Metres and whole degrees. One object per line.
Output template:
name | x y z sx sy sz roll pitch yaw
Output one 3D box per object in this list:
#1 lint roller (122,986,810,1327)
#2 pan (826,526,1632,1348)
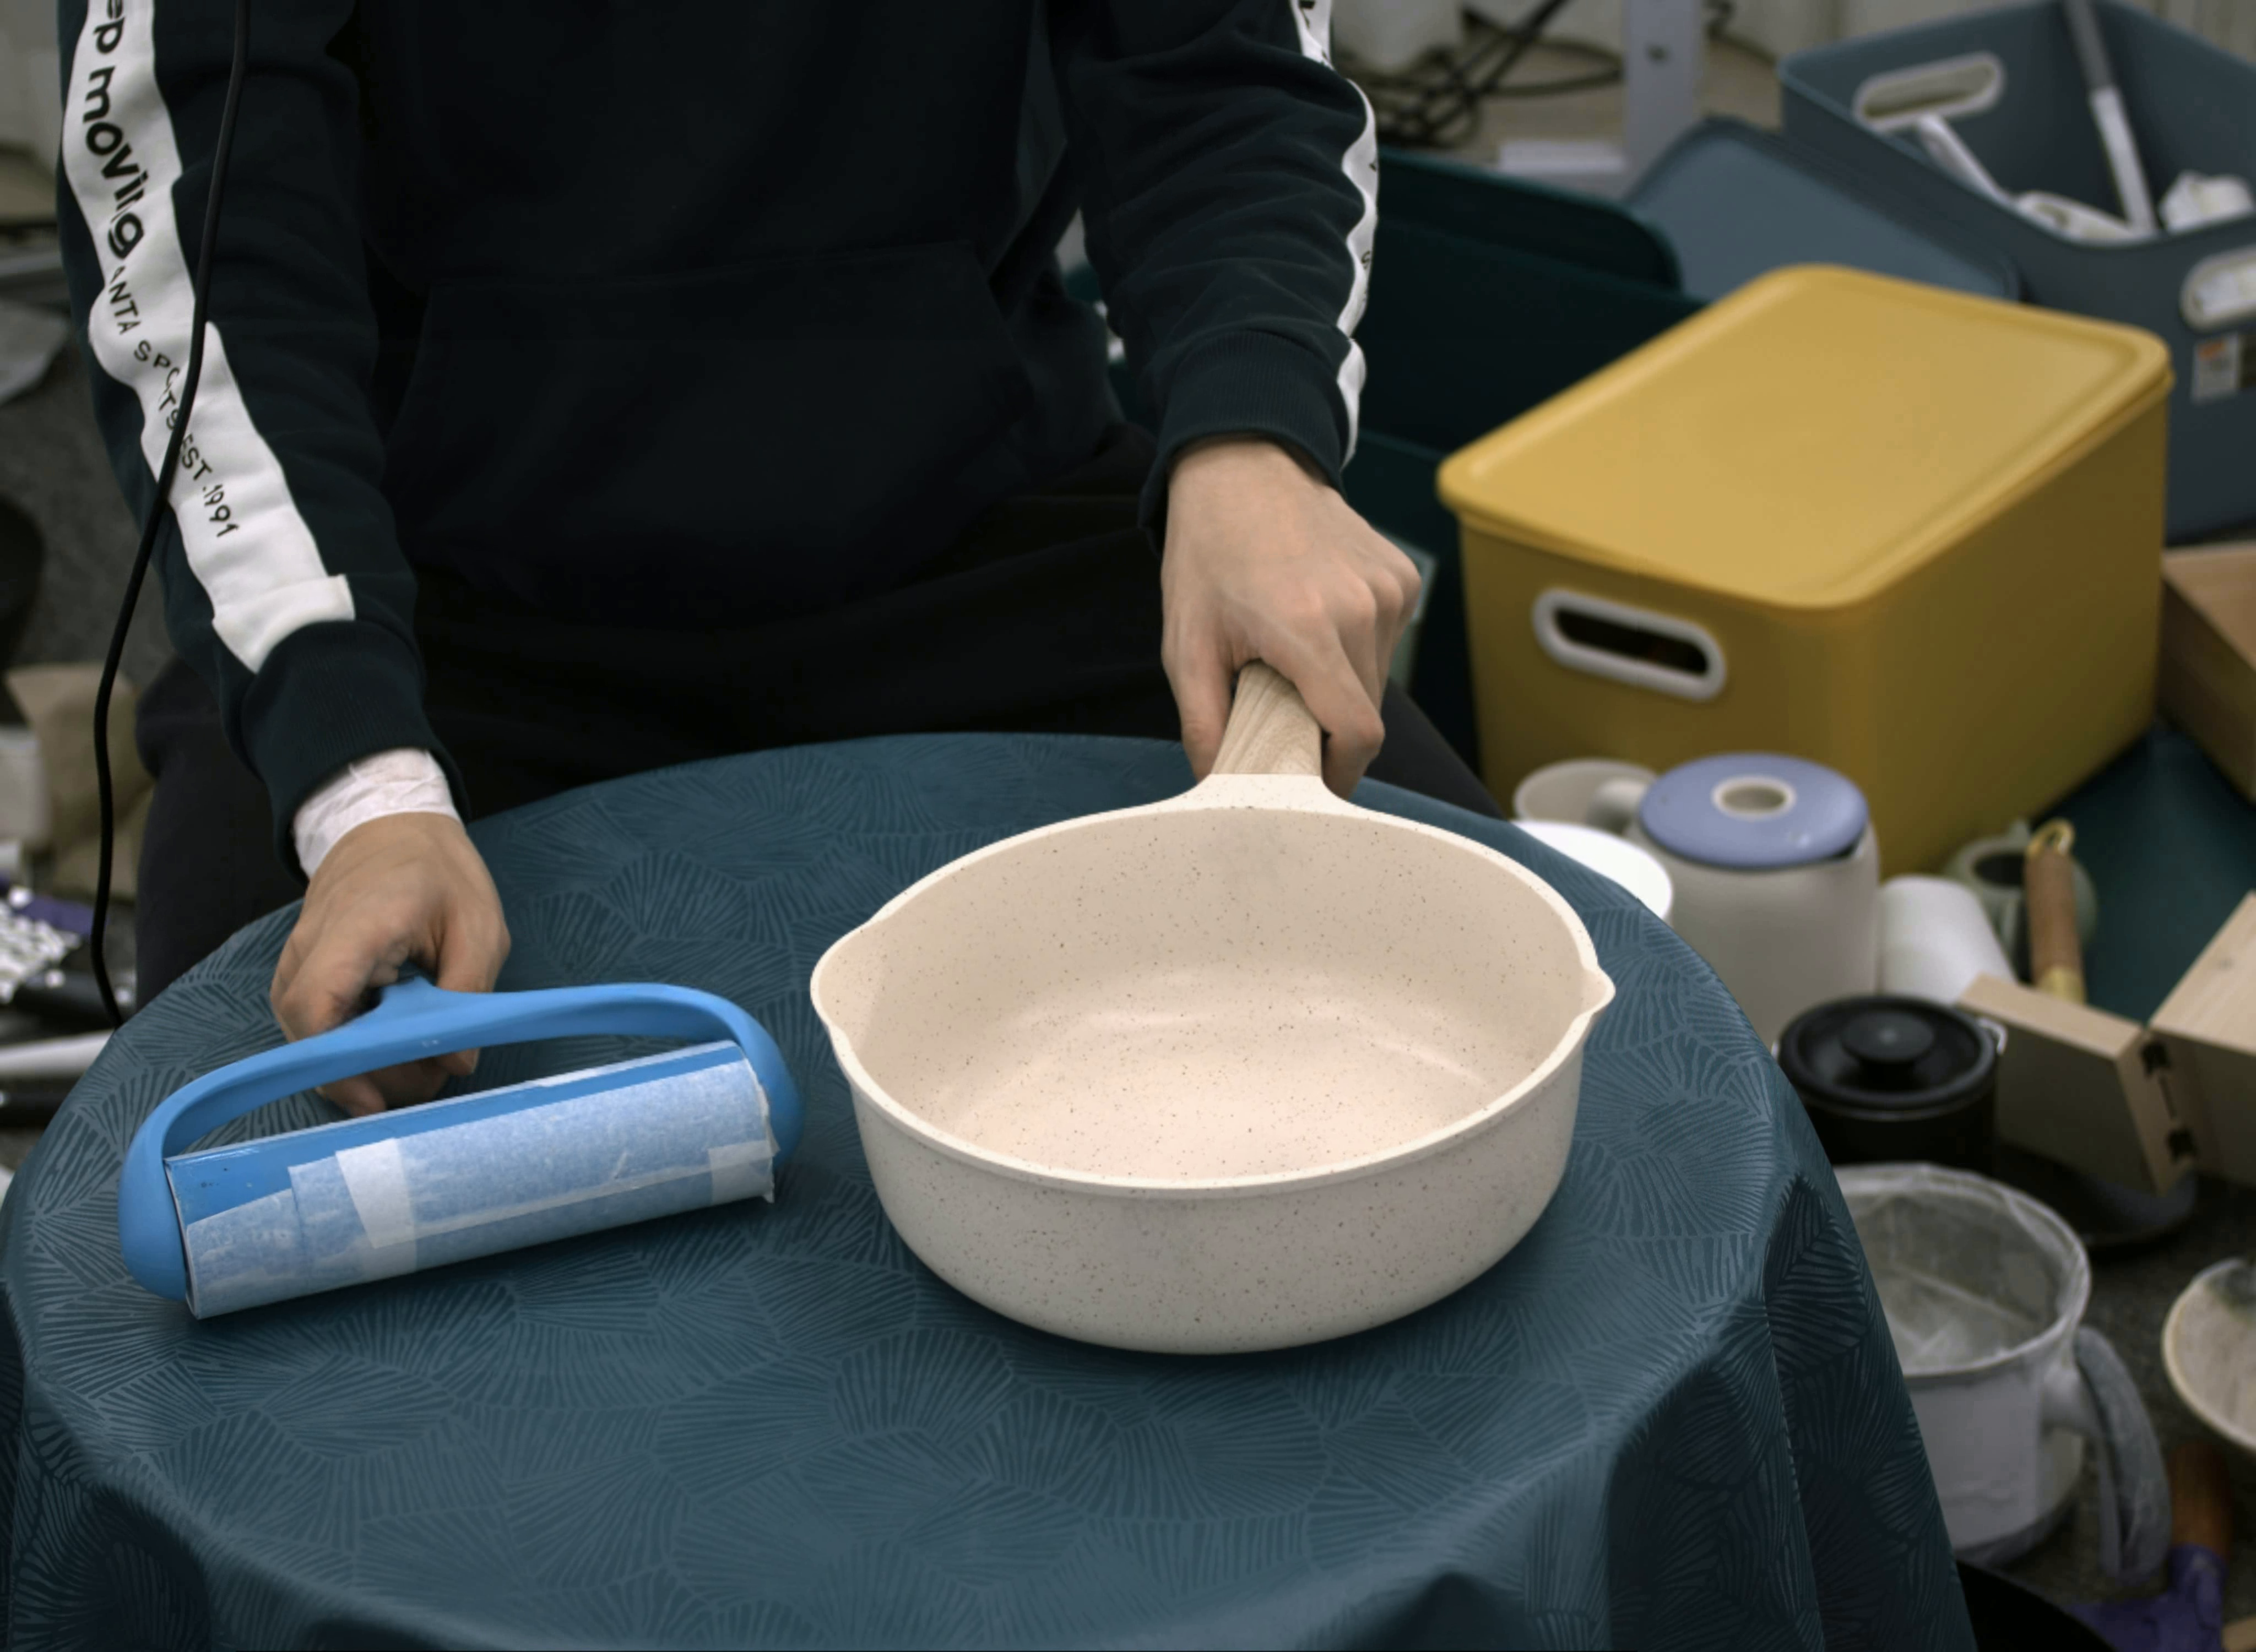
lint roller | -0.236 0.089 1.884 0.229 0.067 0.182 -14 31 -18
pan | 0.045 0.035 1.916 0.262 0.101 0.442 0 27 8
